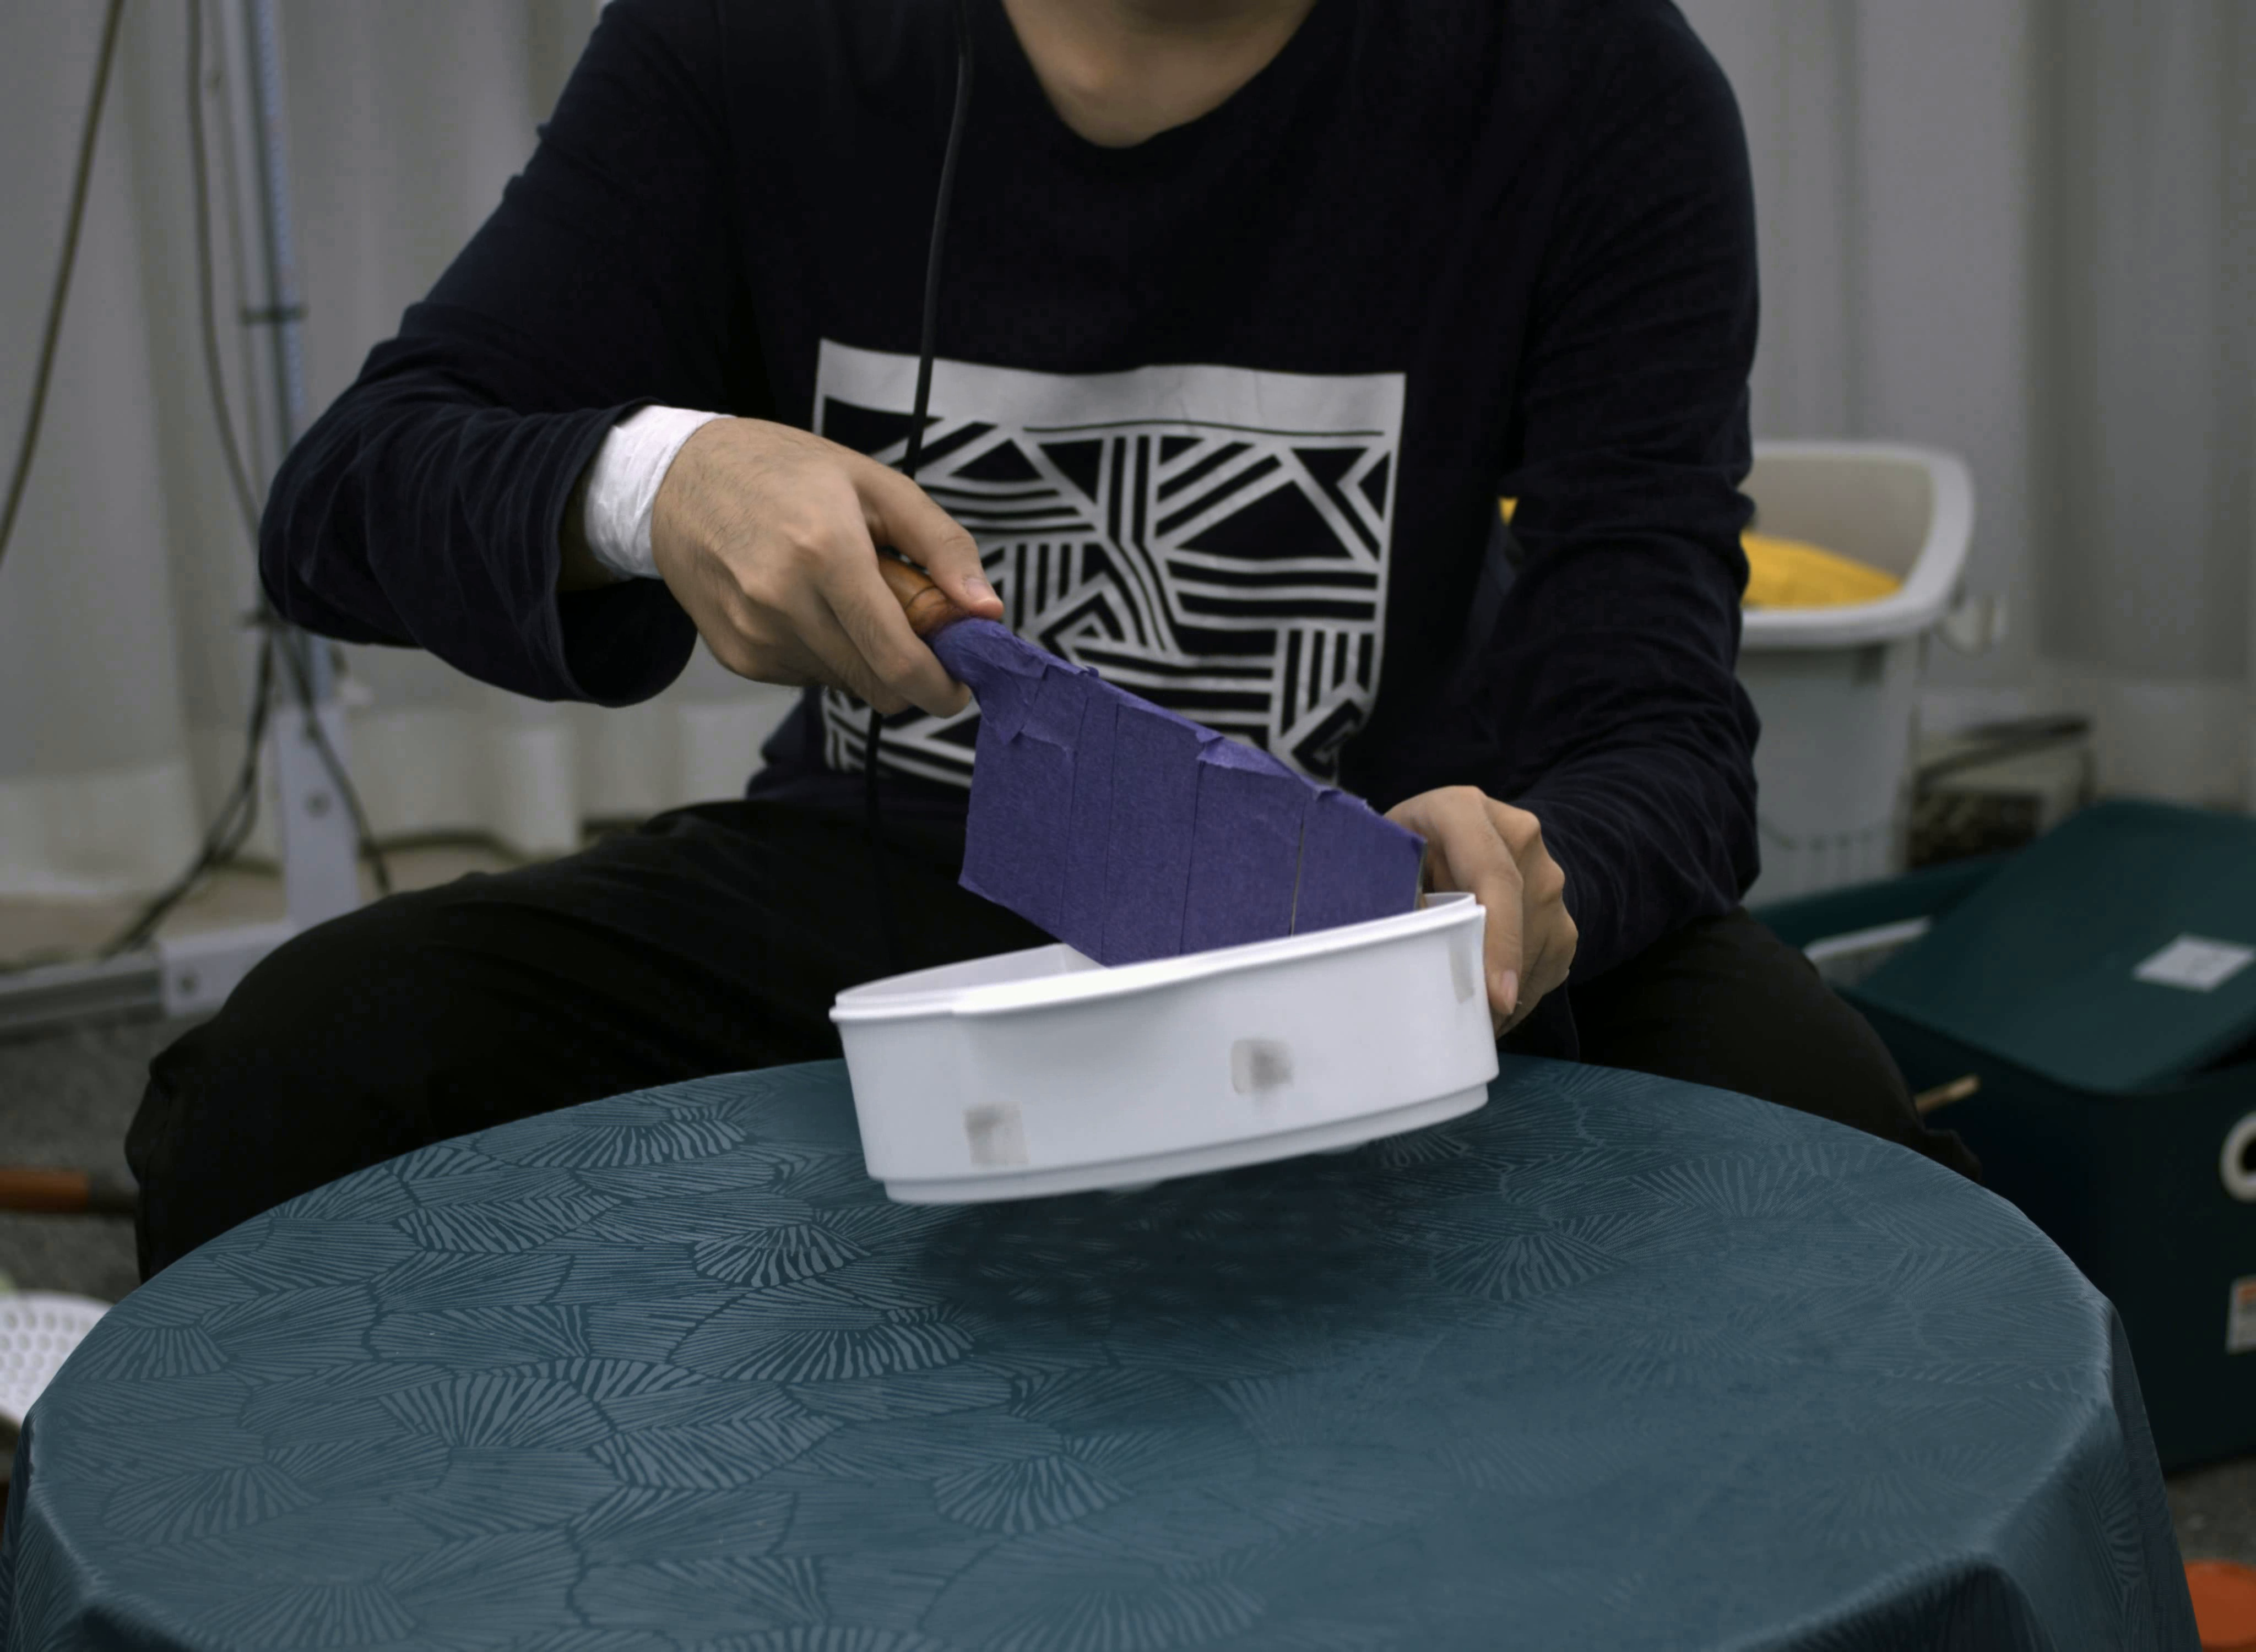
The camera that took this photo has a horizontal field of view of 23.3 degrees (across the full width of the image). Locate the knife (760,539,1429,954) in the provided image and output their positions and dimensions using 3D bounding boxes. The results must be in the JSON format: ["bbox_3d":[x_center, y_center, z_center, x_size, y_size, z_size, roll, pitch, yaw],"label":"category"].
[{"bbox_3d":[-0.018,-0.008,1.721,0.032,0.103,0.318,-5,20,-39],"label":"knife"}]

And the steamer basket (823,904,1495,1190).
[{"bbox_3d":[0.012,0.067,1.644,0.201,0.069,0.230,-7,-1,16],"label":"steamer basket"}]
